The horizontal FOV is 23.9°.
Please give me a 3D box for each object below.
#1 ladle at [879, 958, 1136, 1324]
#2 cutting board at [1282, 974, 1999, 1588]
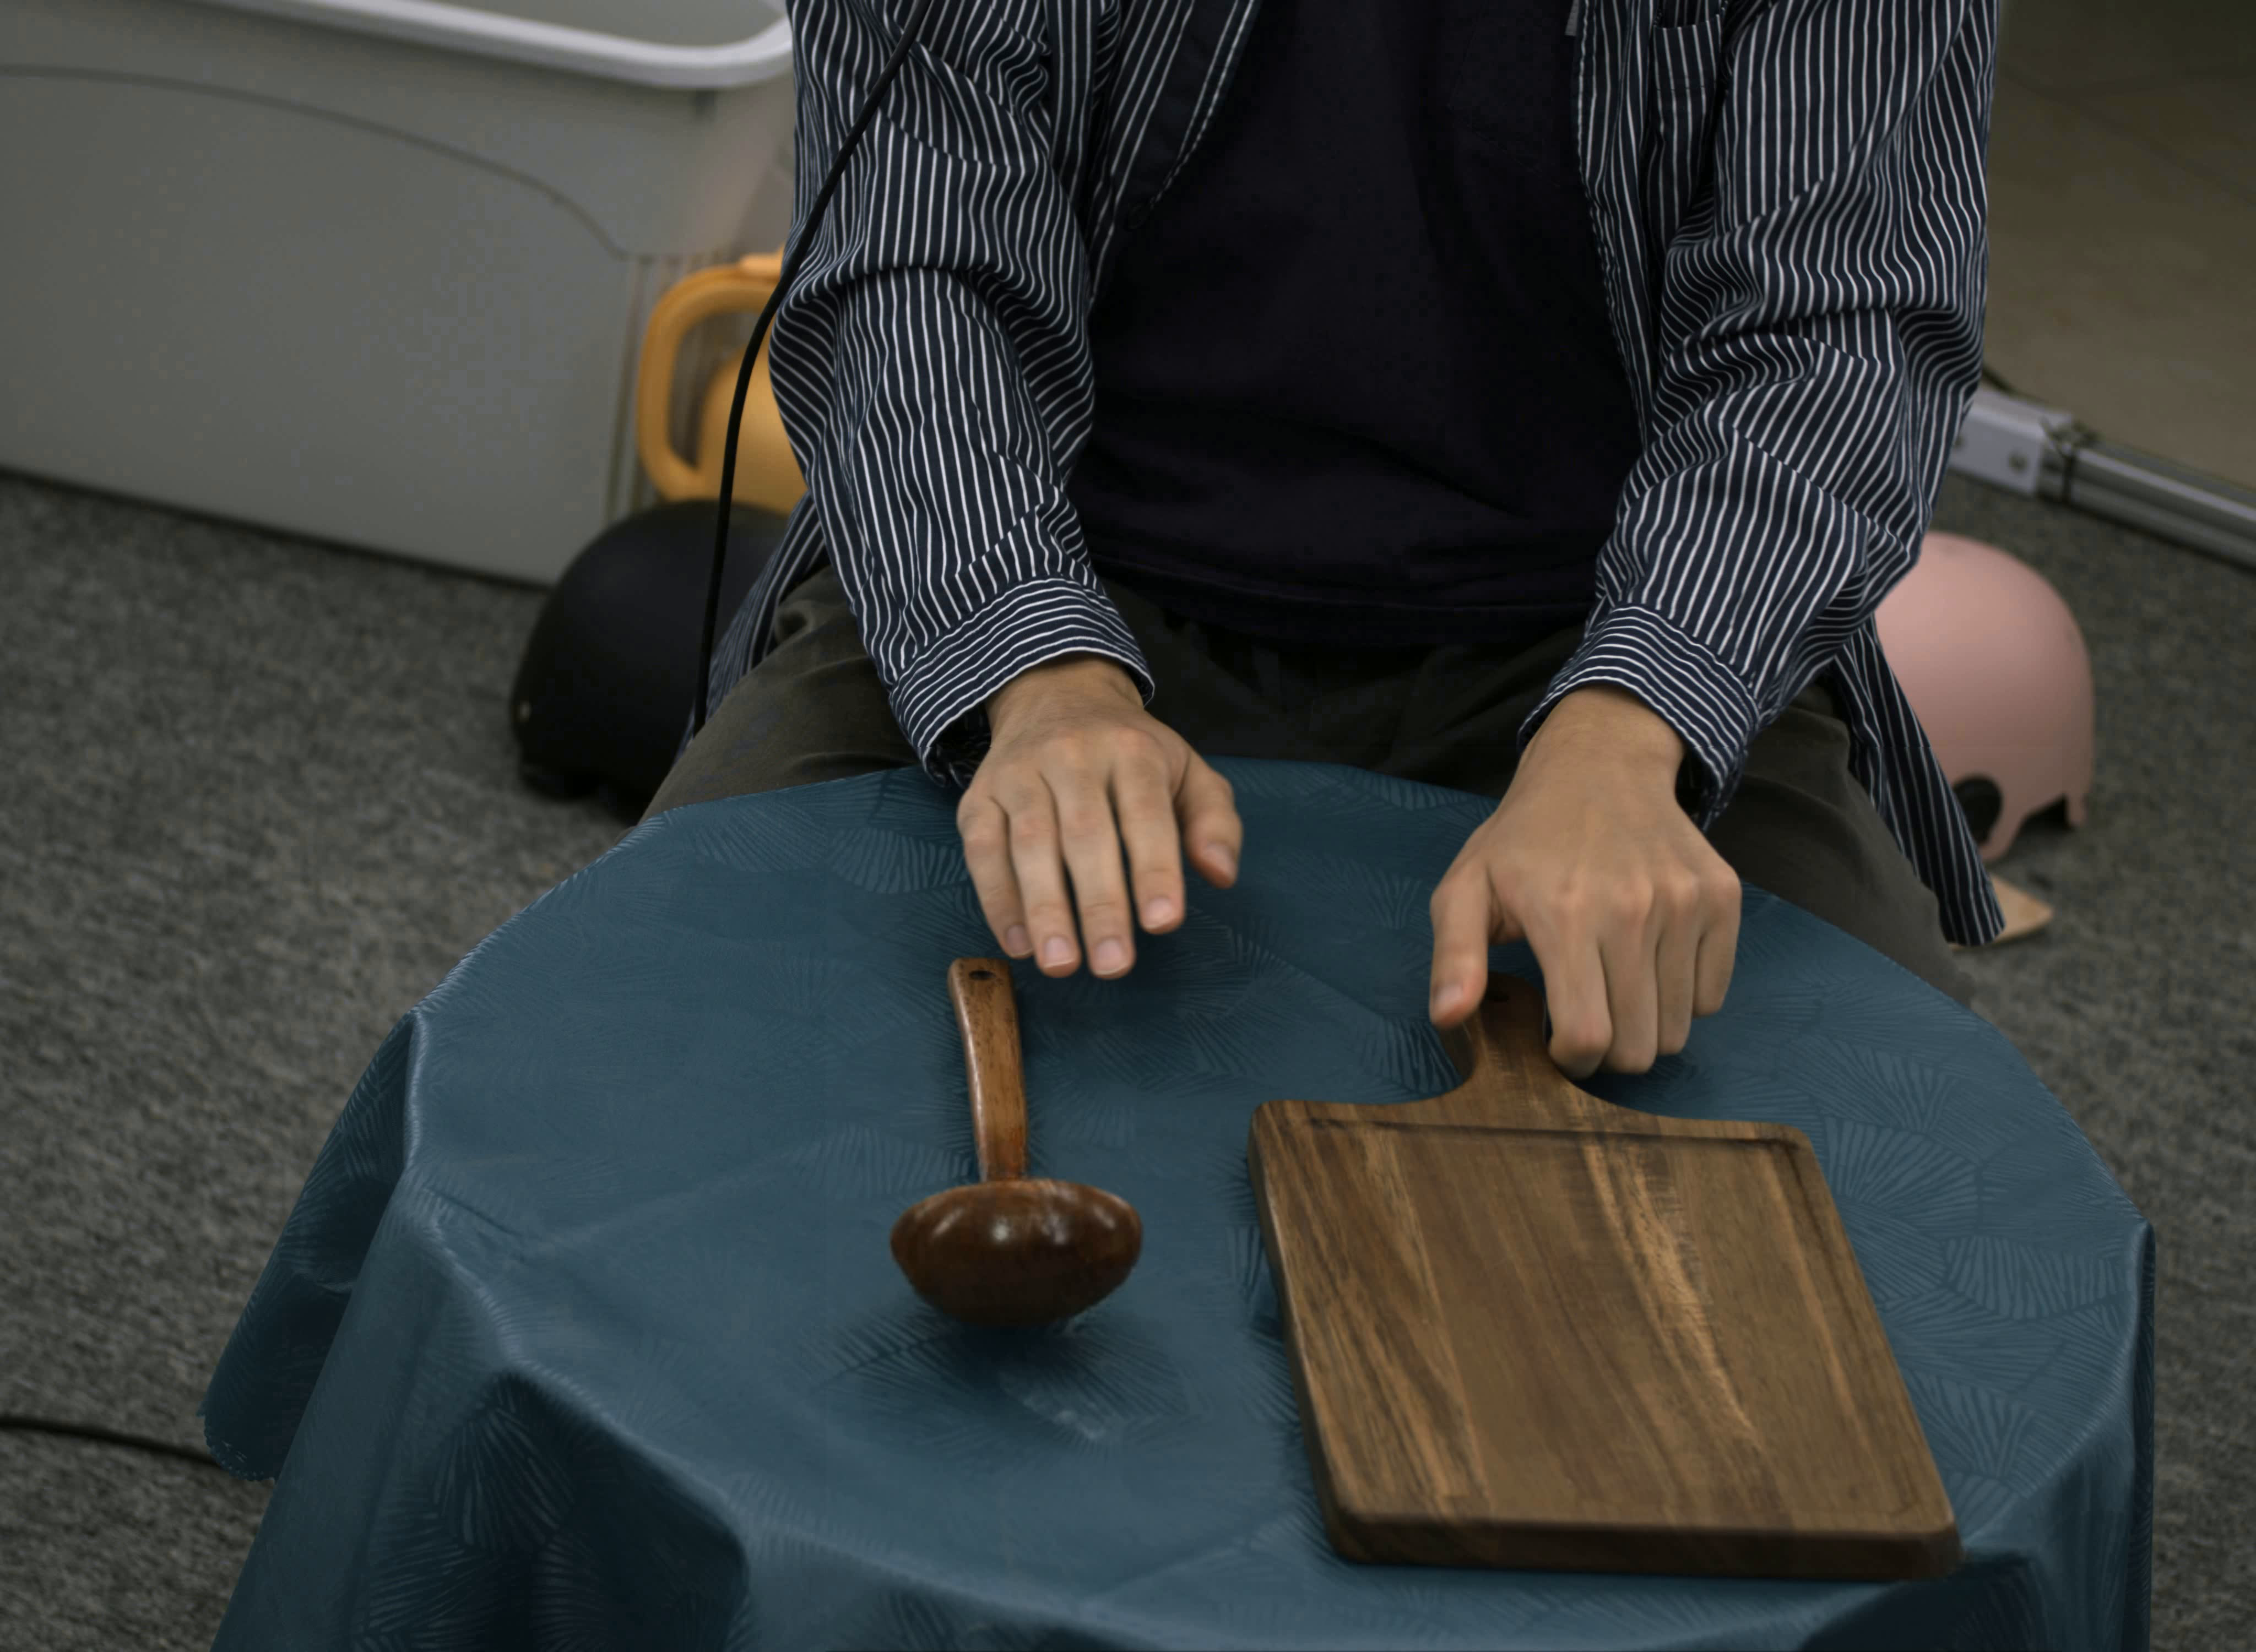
[{"bbox_3d":[-0.042,0.085,1.781,0.081,0.076,0.276,5,27,-4],"label":"ladle"},{"bbox_3d":[0.157,0.142,1.773,0.200,0.023,0.354,3,27,-6],"label":"cutting board"}]
